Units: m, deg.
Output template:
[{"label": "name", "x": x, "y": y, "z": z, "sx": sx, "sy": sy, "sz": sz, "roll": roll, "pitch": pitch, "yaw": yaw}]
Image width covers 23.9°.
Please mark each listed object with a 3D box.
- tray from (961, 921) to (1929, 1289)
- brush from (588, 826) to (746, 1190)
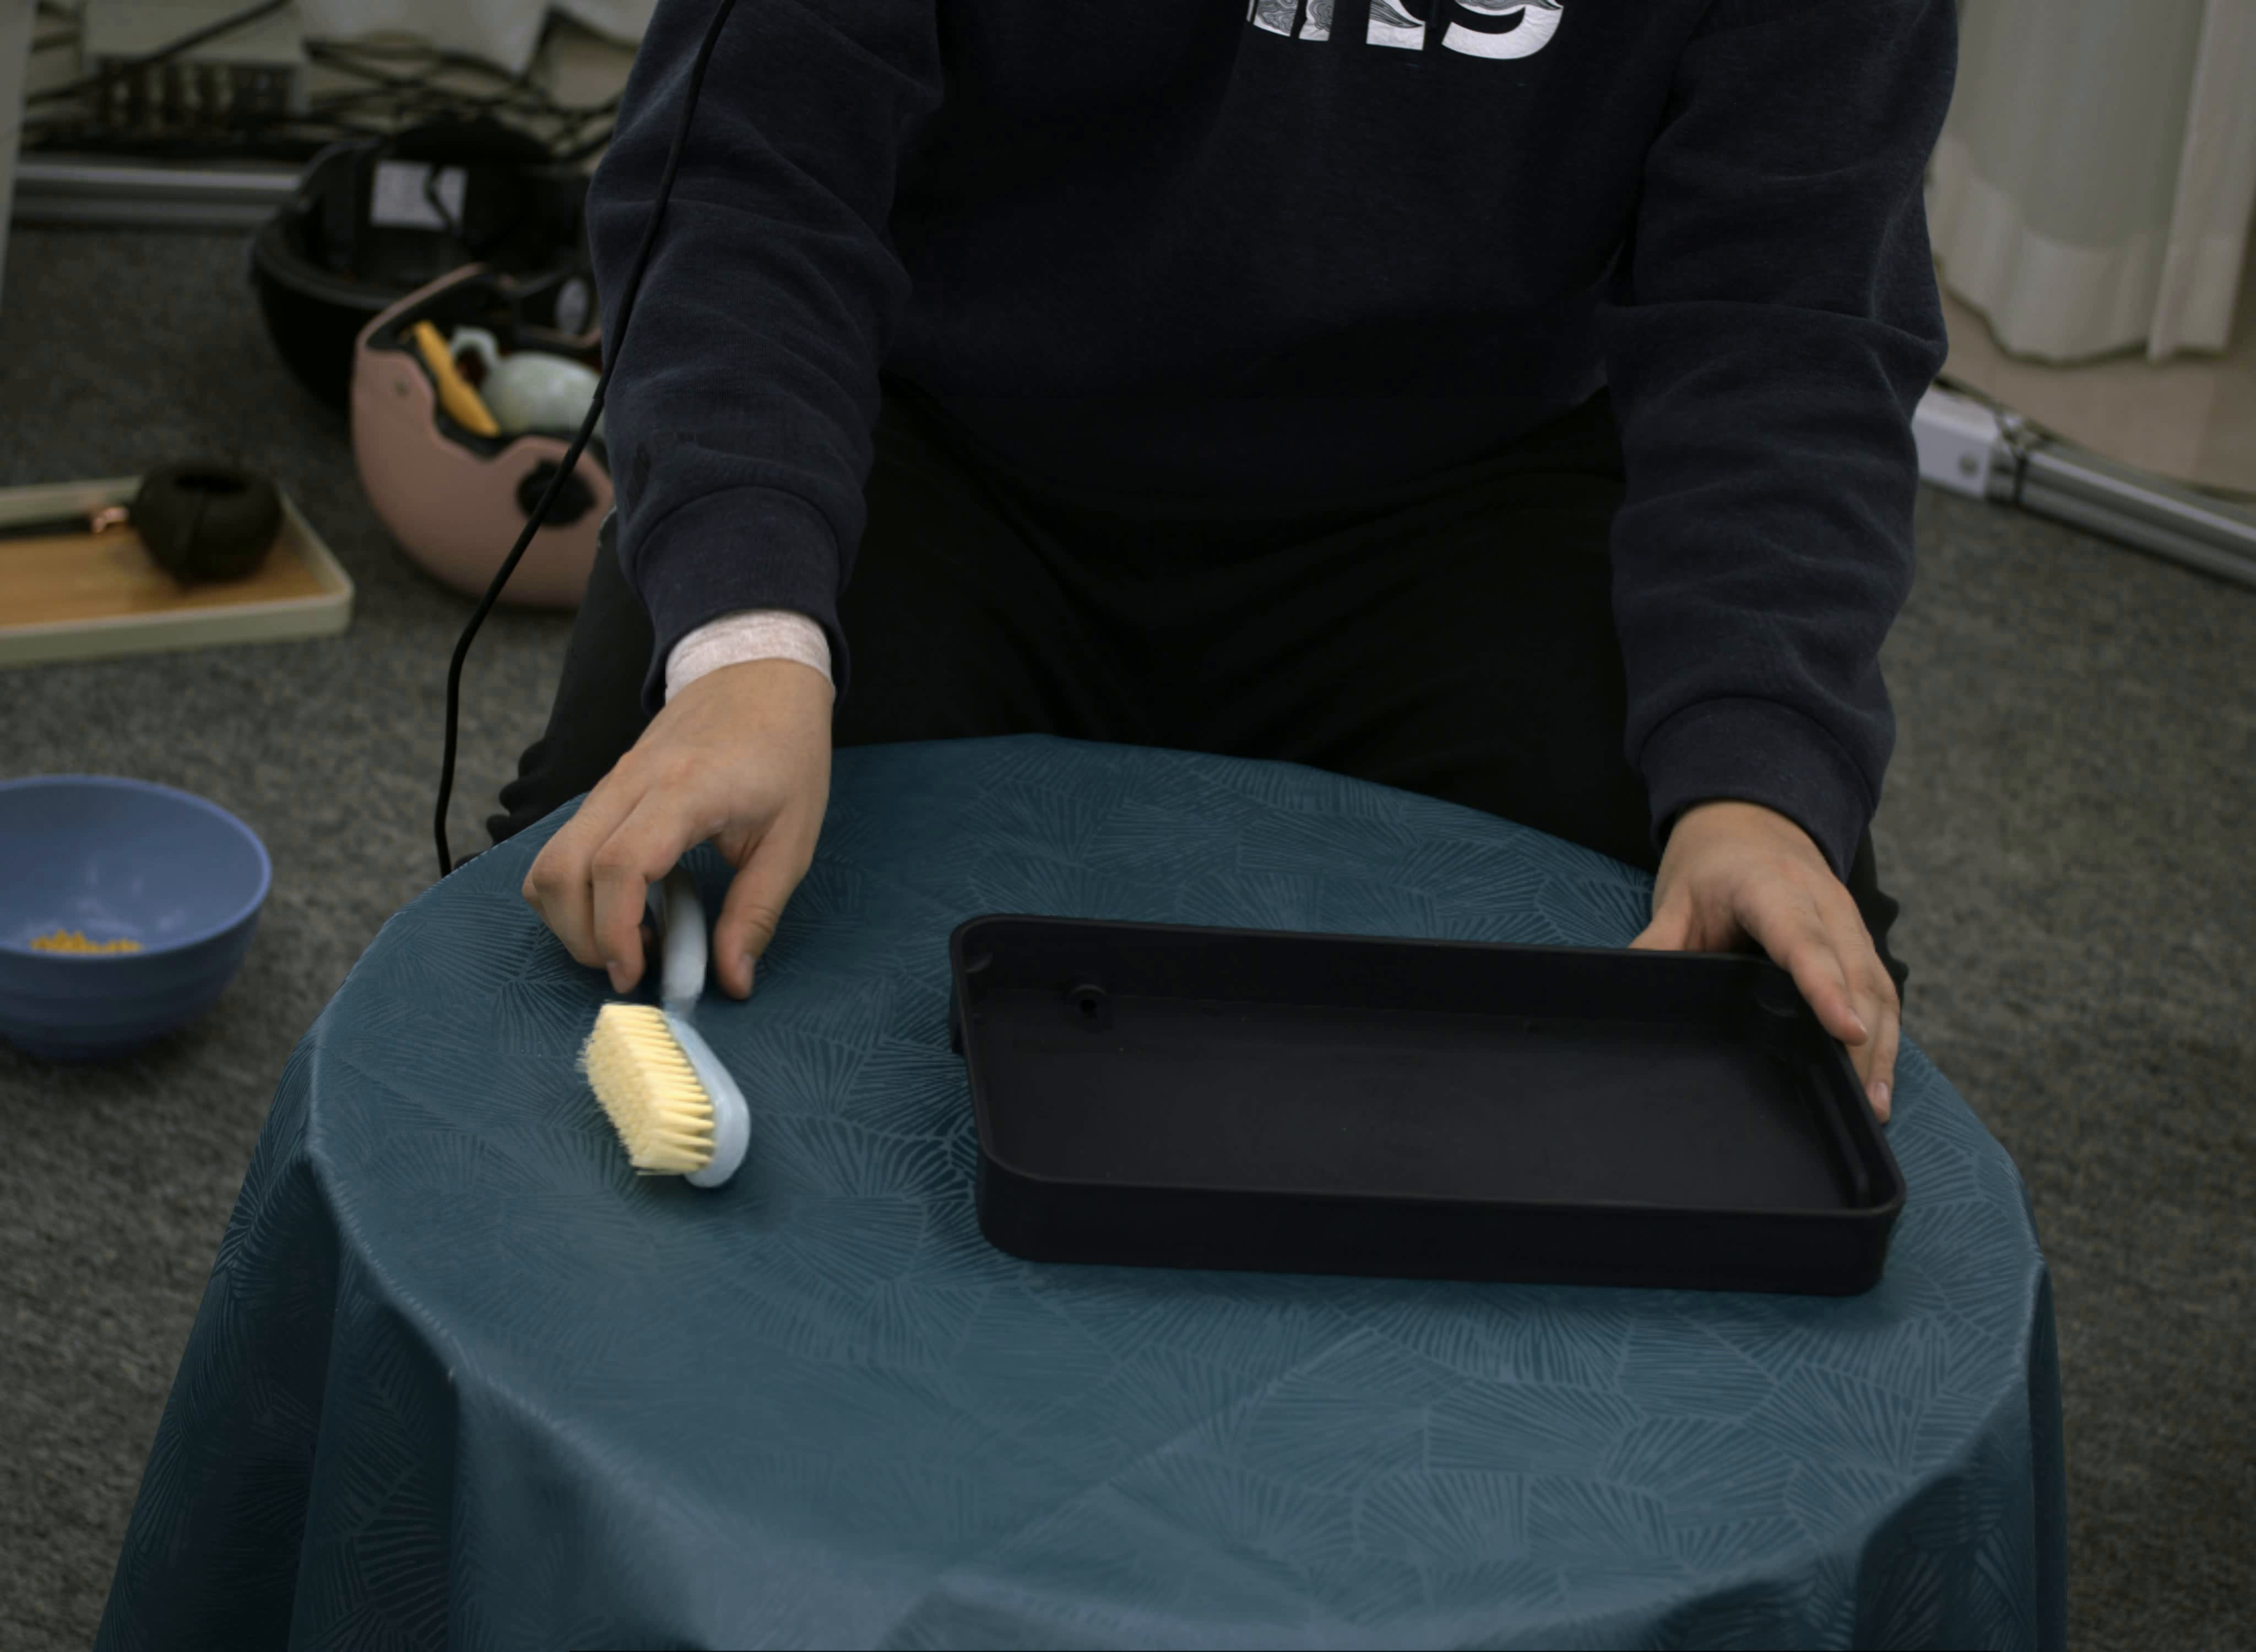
[{"label": "tray", "x": 0.104, "y": 0.096, "z": 1.846, "sx": 0.316, "sy": 0.037, "sz": 0.185, "roll": 2, "pitch": 26, "yaw": -9}, {"label": "brush", "x": -0.166, "y": 0.057, "z": 1.856, "sx": 0.049, "sy": 0.038, "sz": 0.230, "roll": 13, "pitch": 24, "yaw": -15}]
